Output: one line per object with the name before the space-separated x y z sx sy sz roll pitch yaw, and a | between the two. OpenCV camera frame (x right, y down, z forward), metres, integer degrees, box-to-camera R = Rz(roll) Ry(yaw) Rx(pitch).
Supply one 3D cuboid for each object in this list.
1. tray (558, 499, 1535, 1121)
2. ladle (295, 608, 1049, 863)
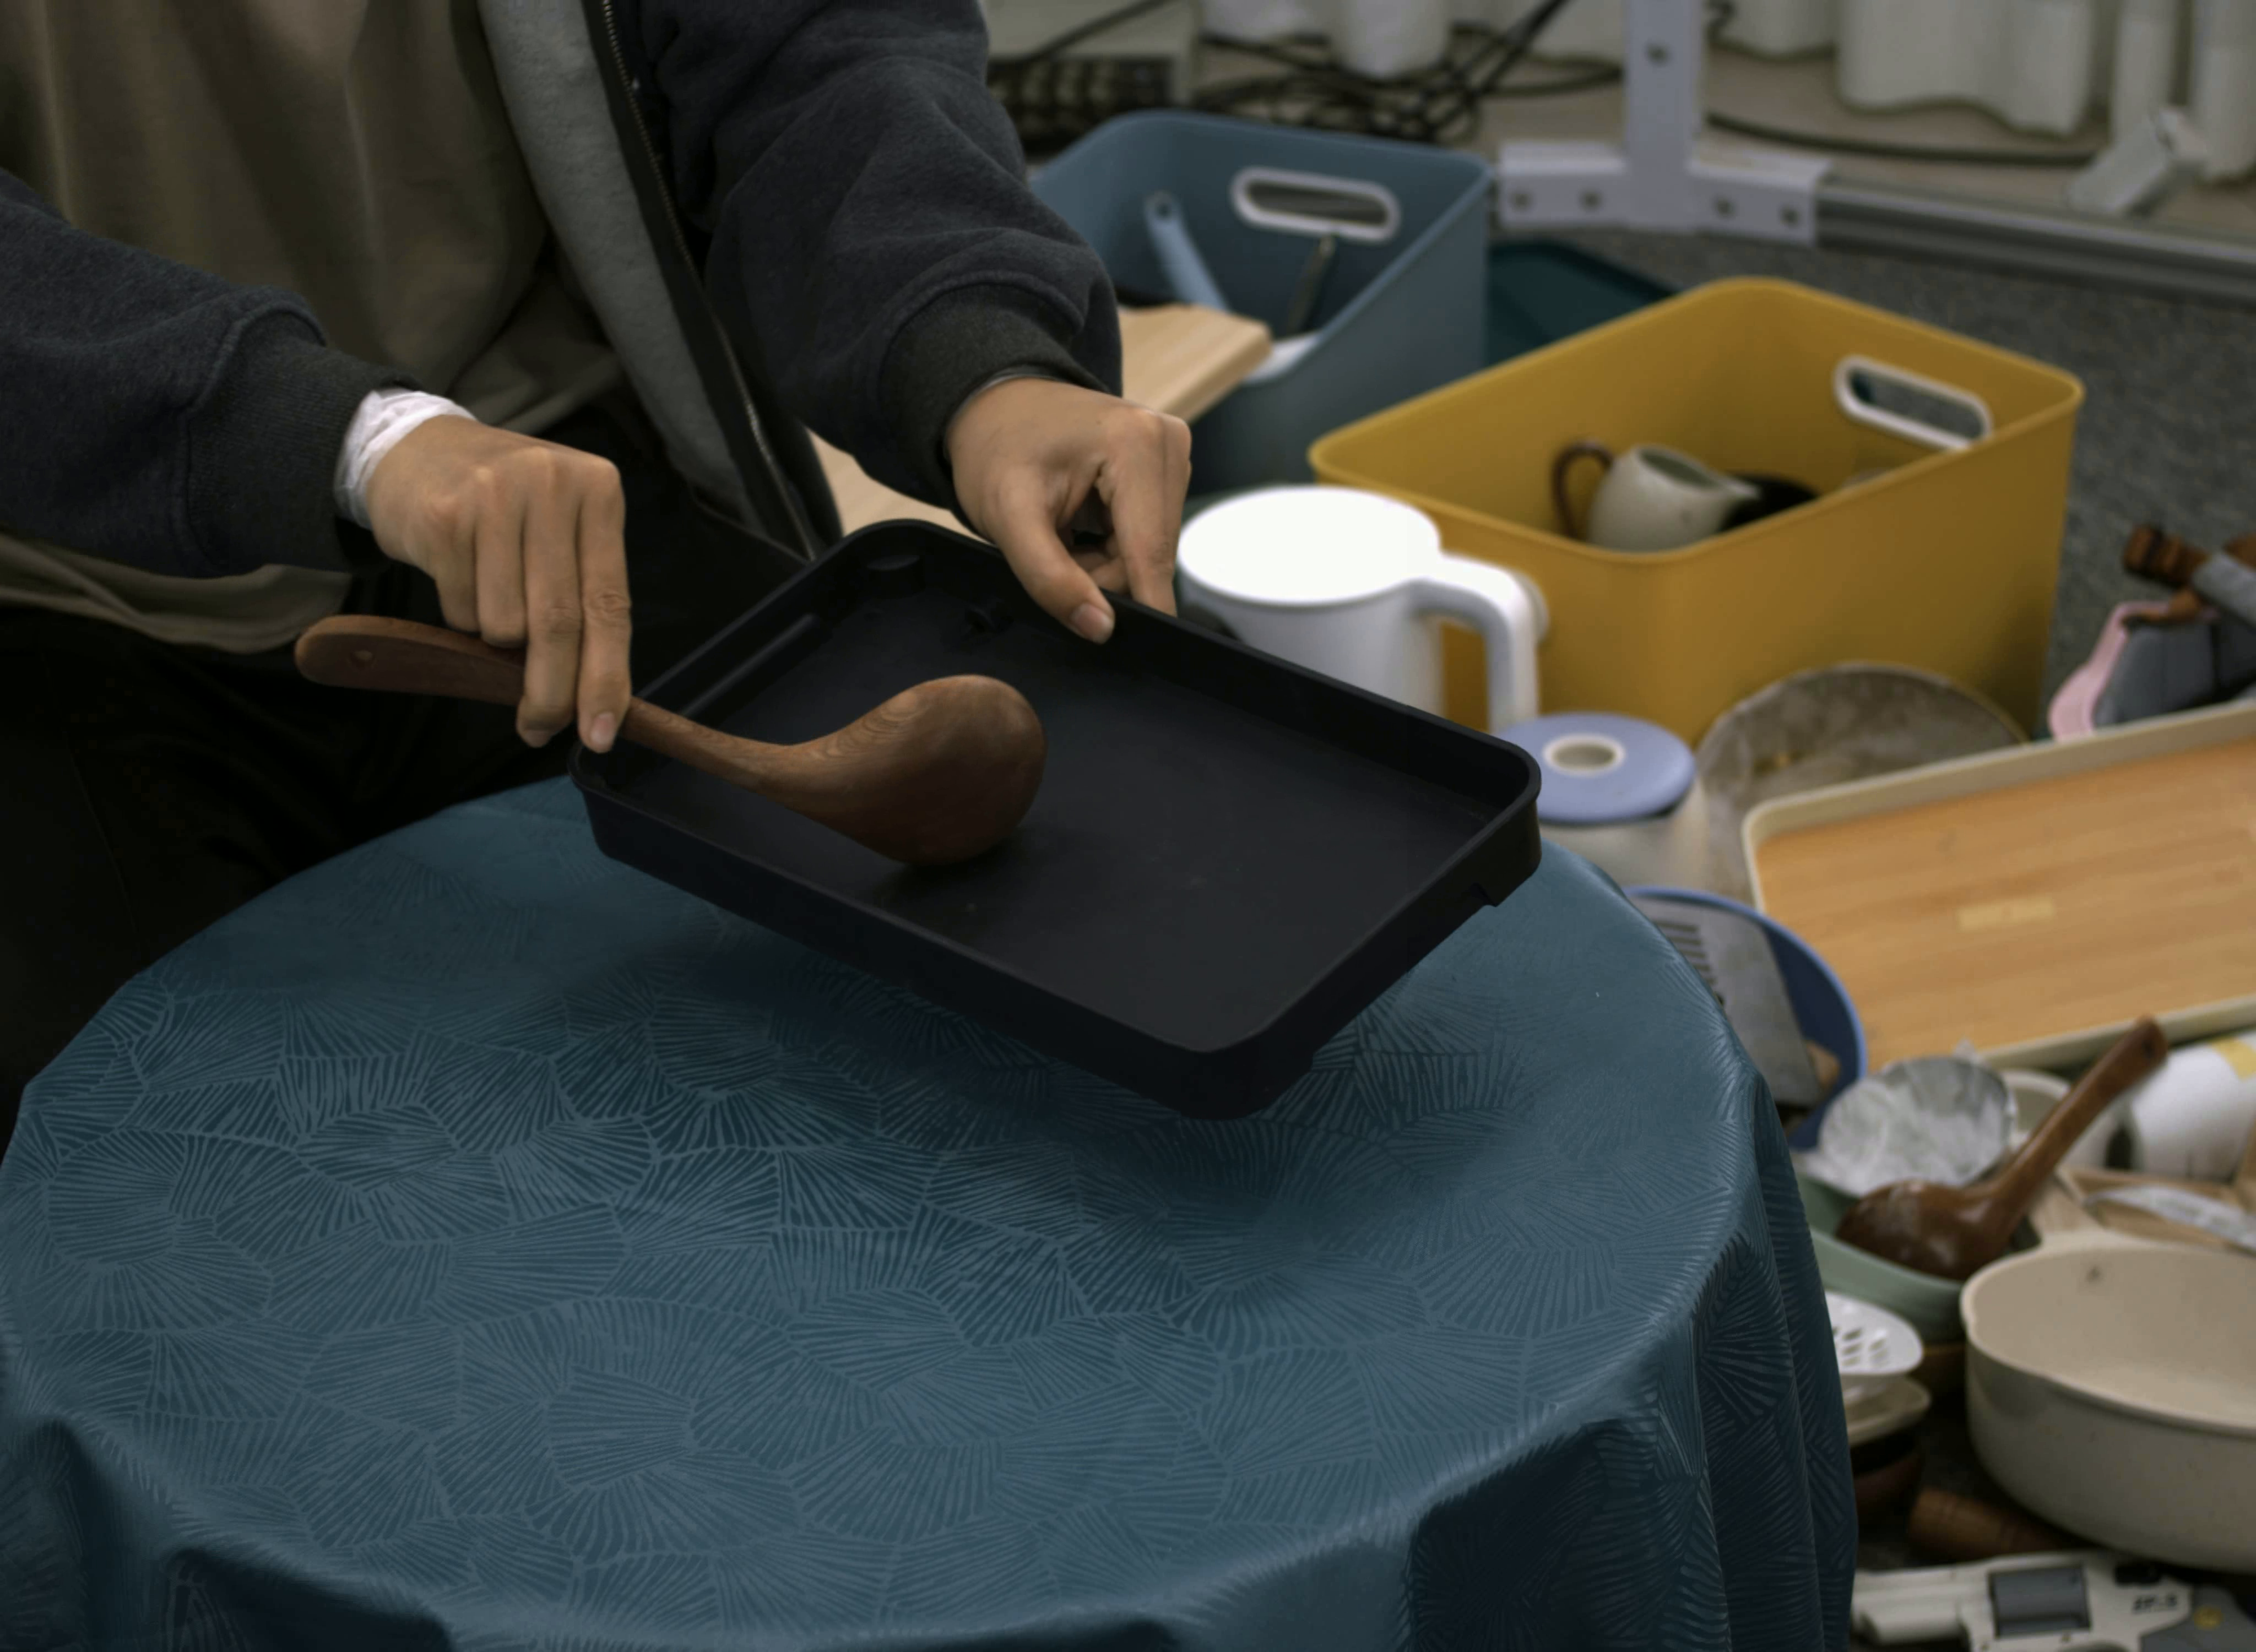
tray | -0.030 -0.011 1.938 0.317 0.036 0.187 23 48 35
ladle | -0.155 -0.044 1.932 0.259 0.075 0.066 15 33 8
